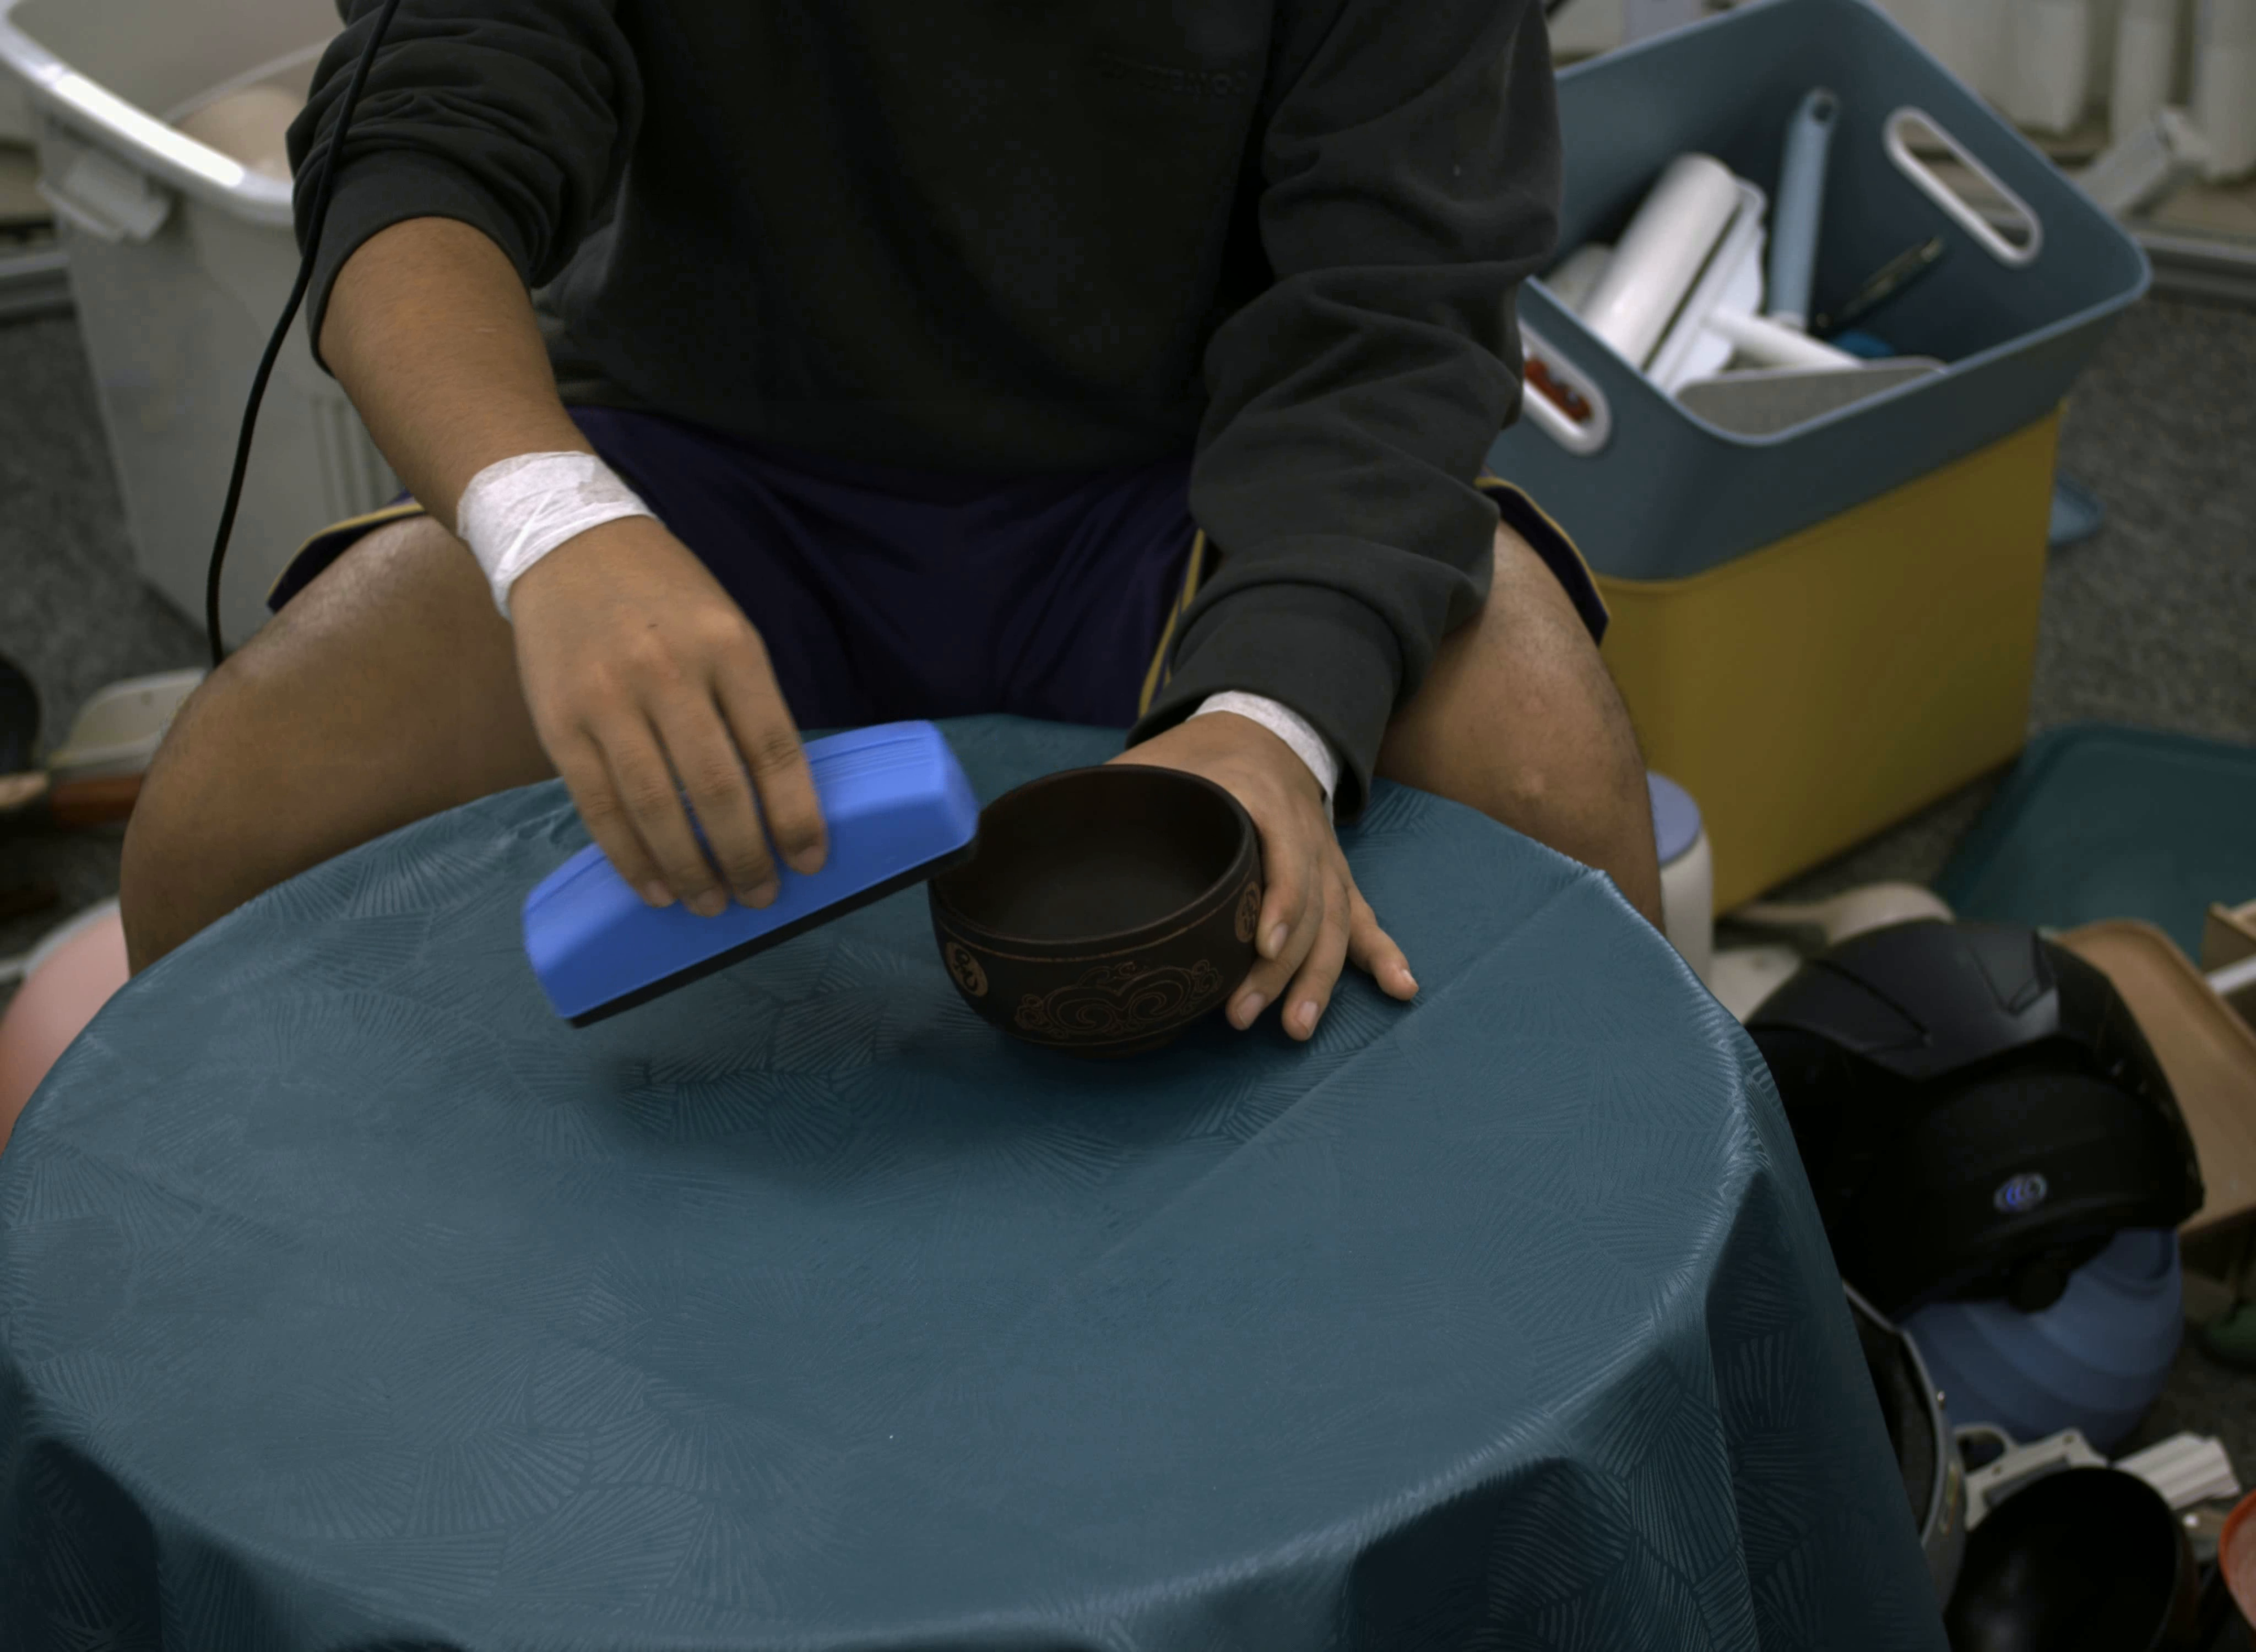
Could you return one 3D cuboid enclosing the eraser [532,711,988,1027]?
[{"bbox_3d":[-0.128,0.010,1.918,0.161,0.047,0.054,-25,35,3],"label":"eraser"}]

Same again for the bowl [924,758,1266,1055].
[{"bbox_3d":[-0.008,0.035,1.944,0.117,0.069,0.120,-8,30,5],"label":"bowl"}]
